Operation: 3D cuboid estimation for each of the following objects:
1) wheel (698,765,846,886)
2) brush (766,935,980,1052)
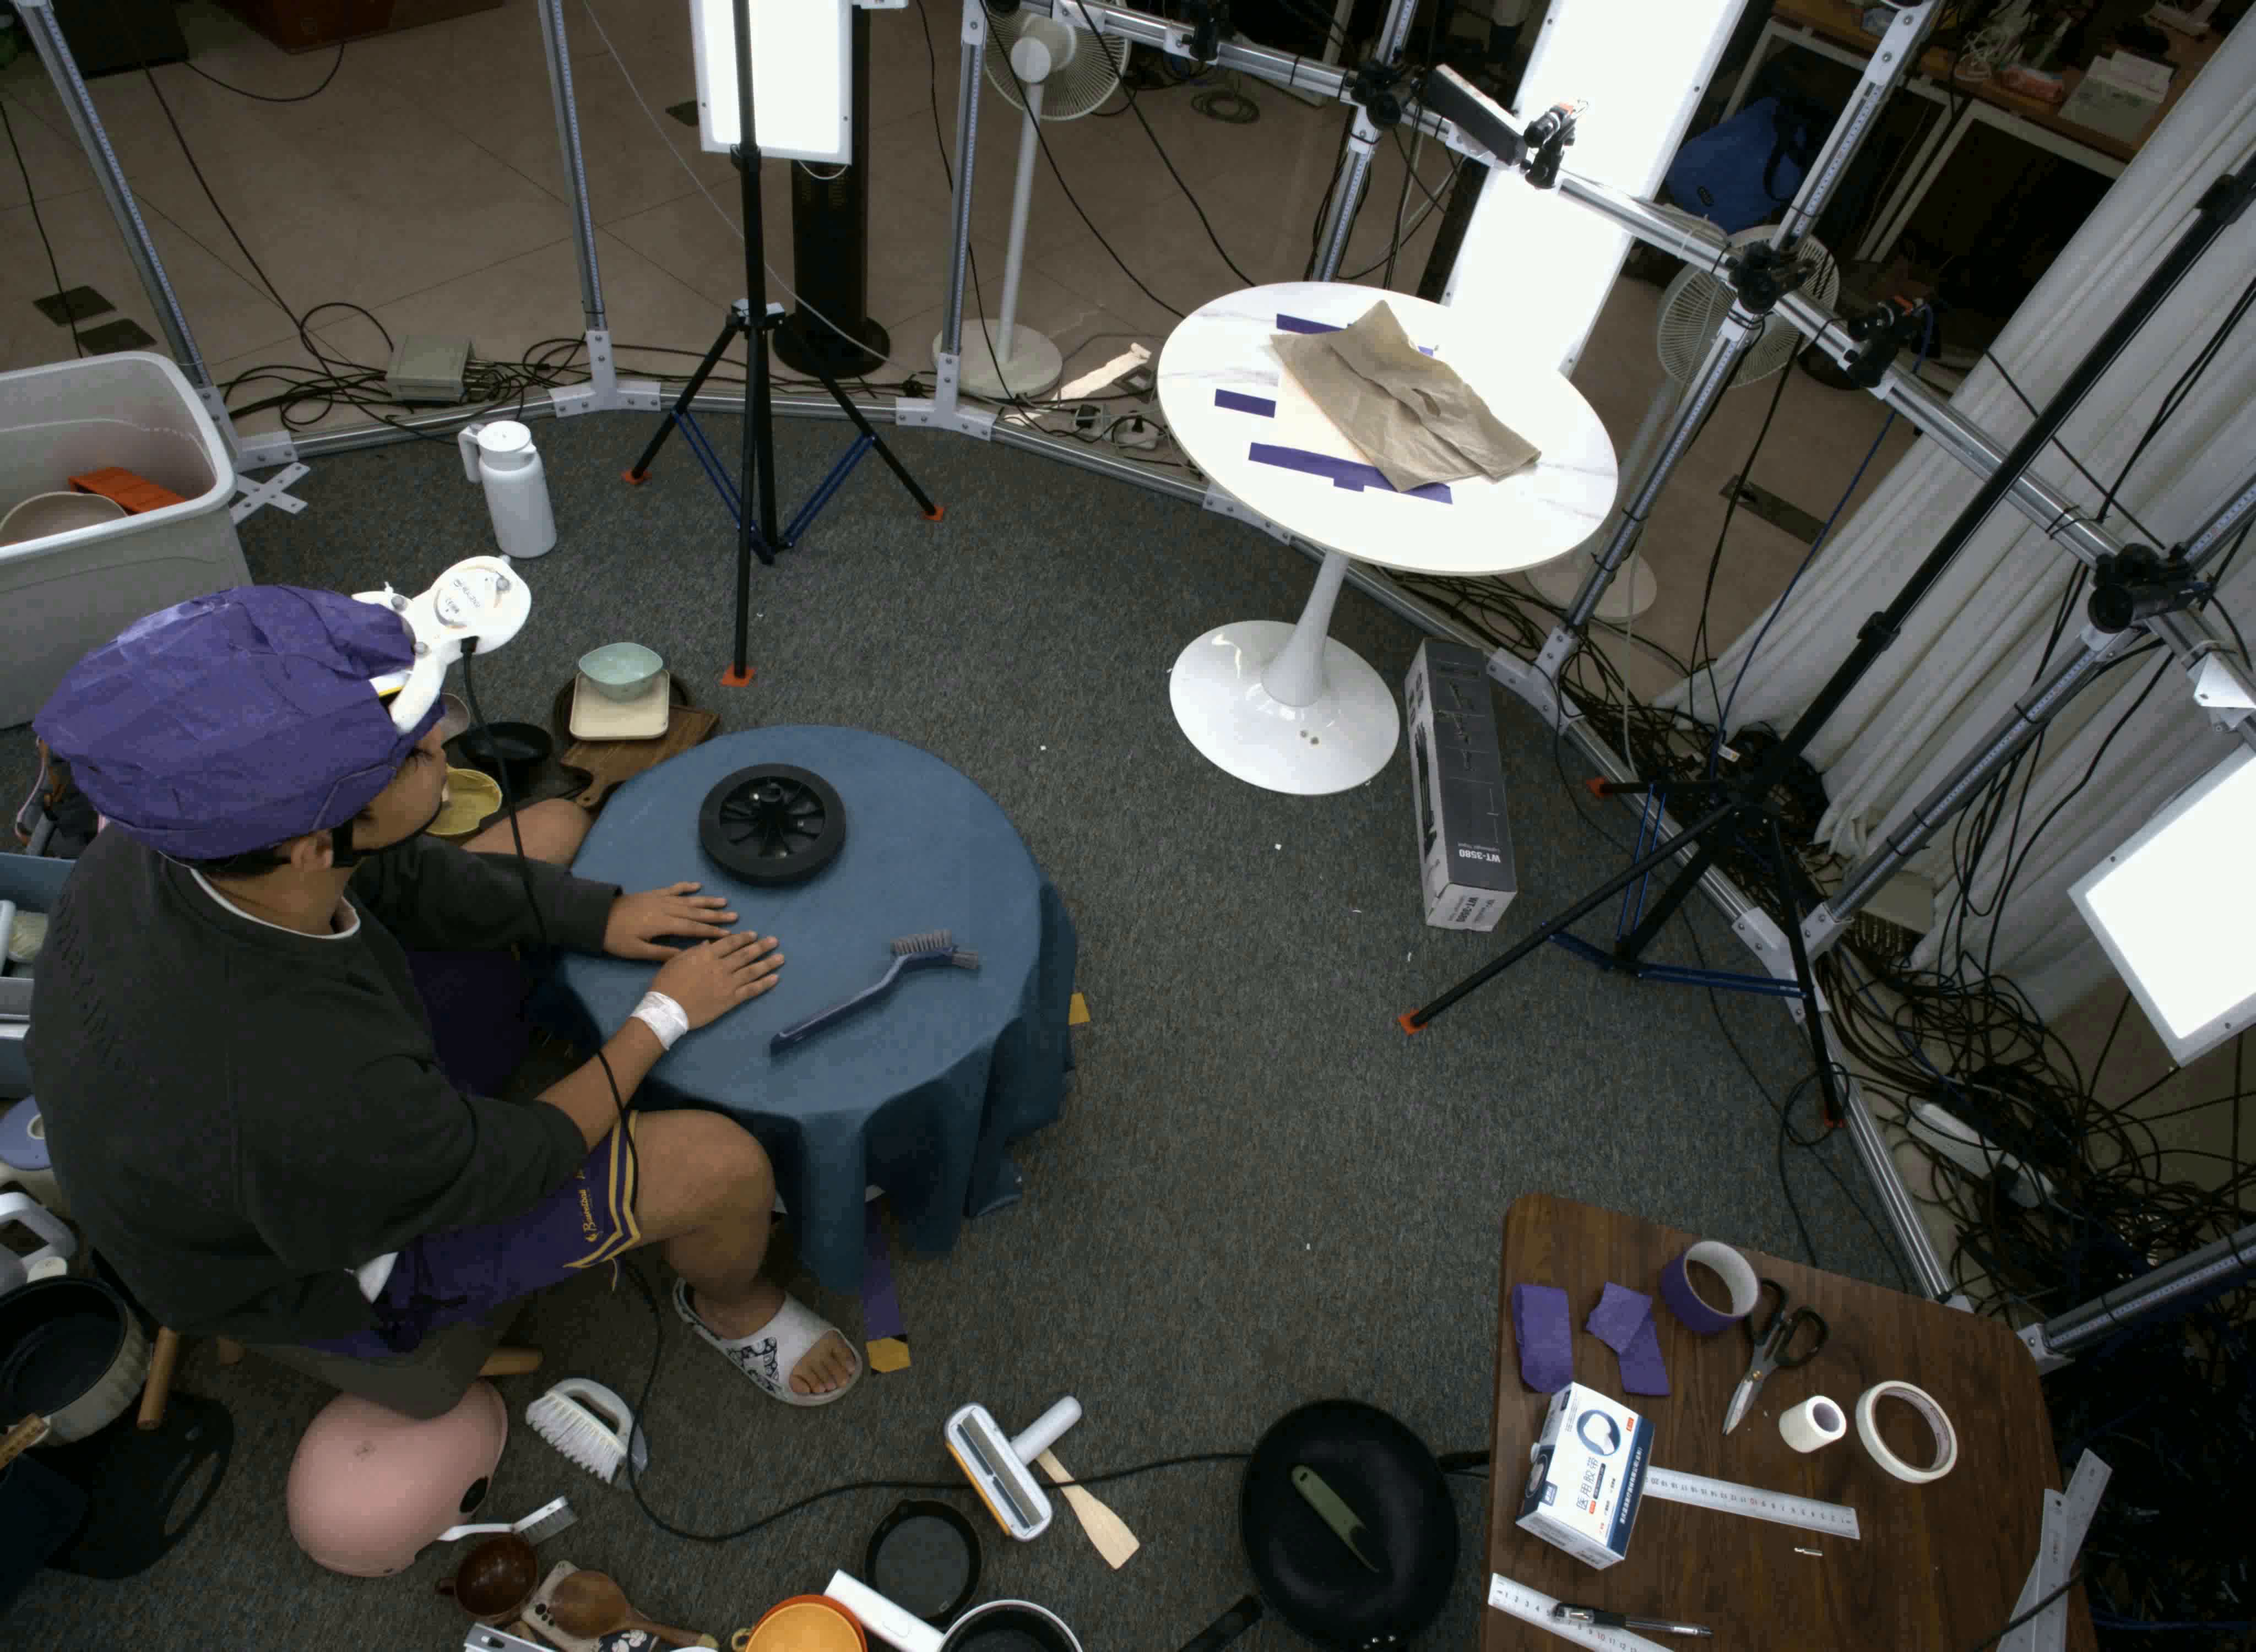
[{"bbox_3d":[-0.464,-0.017,1.682,0.190,0.081,0.183,0,54,-14],"label":"wheel"},{"bbox_3d":[-0.310,0.208,1.582,0.093,0.034,0.274,43,54,18],"label":"brush"}]
